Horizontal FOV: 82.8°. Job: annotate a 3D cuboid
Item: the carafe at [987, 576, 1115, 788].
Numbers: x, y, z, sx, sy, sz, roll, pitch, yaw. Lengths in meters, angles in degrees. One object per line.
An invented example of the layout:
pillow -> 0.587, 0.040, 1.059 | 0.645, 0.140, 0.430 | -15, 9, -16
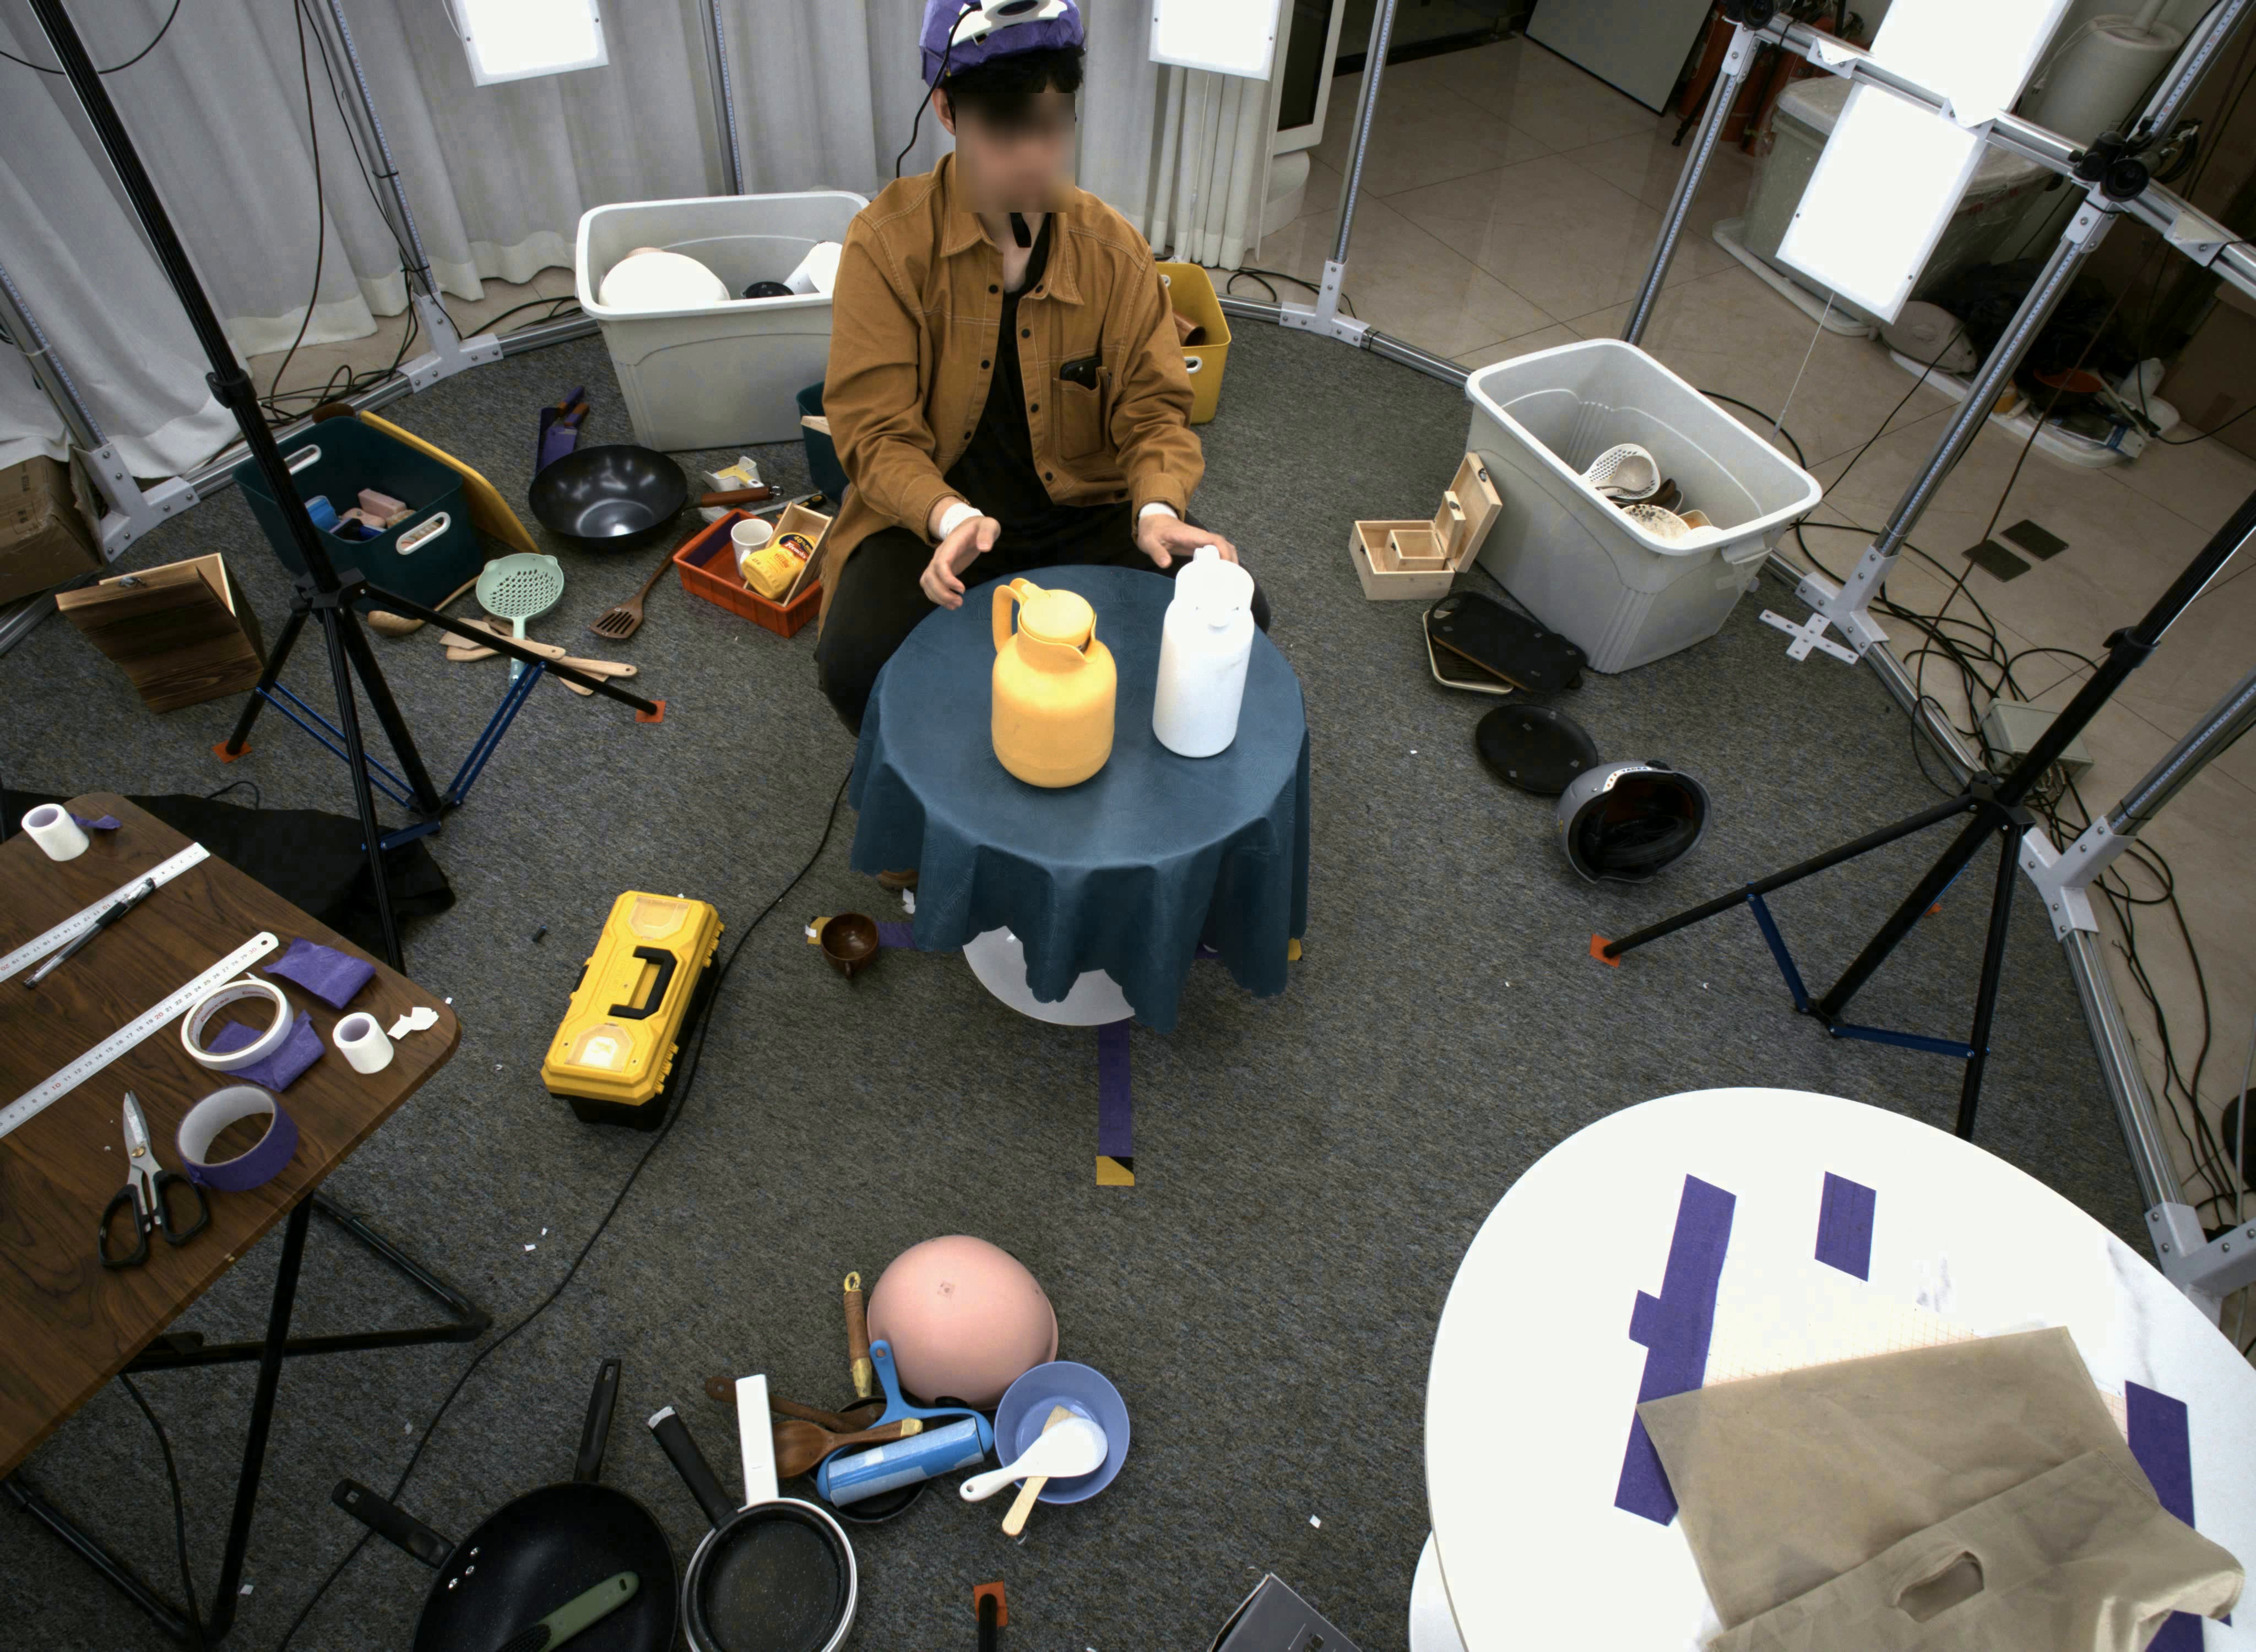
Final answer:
carafe -> -0.108, -0.194, 1.661 | 0.164, 0.254, 0.206 | -25, 57, -27

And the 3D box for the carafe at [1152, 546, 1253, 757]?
carafe -> 0.097, -0.233, 1.705 | 0.124, 0.262, 0.177 | -2, 49, -3
